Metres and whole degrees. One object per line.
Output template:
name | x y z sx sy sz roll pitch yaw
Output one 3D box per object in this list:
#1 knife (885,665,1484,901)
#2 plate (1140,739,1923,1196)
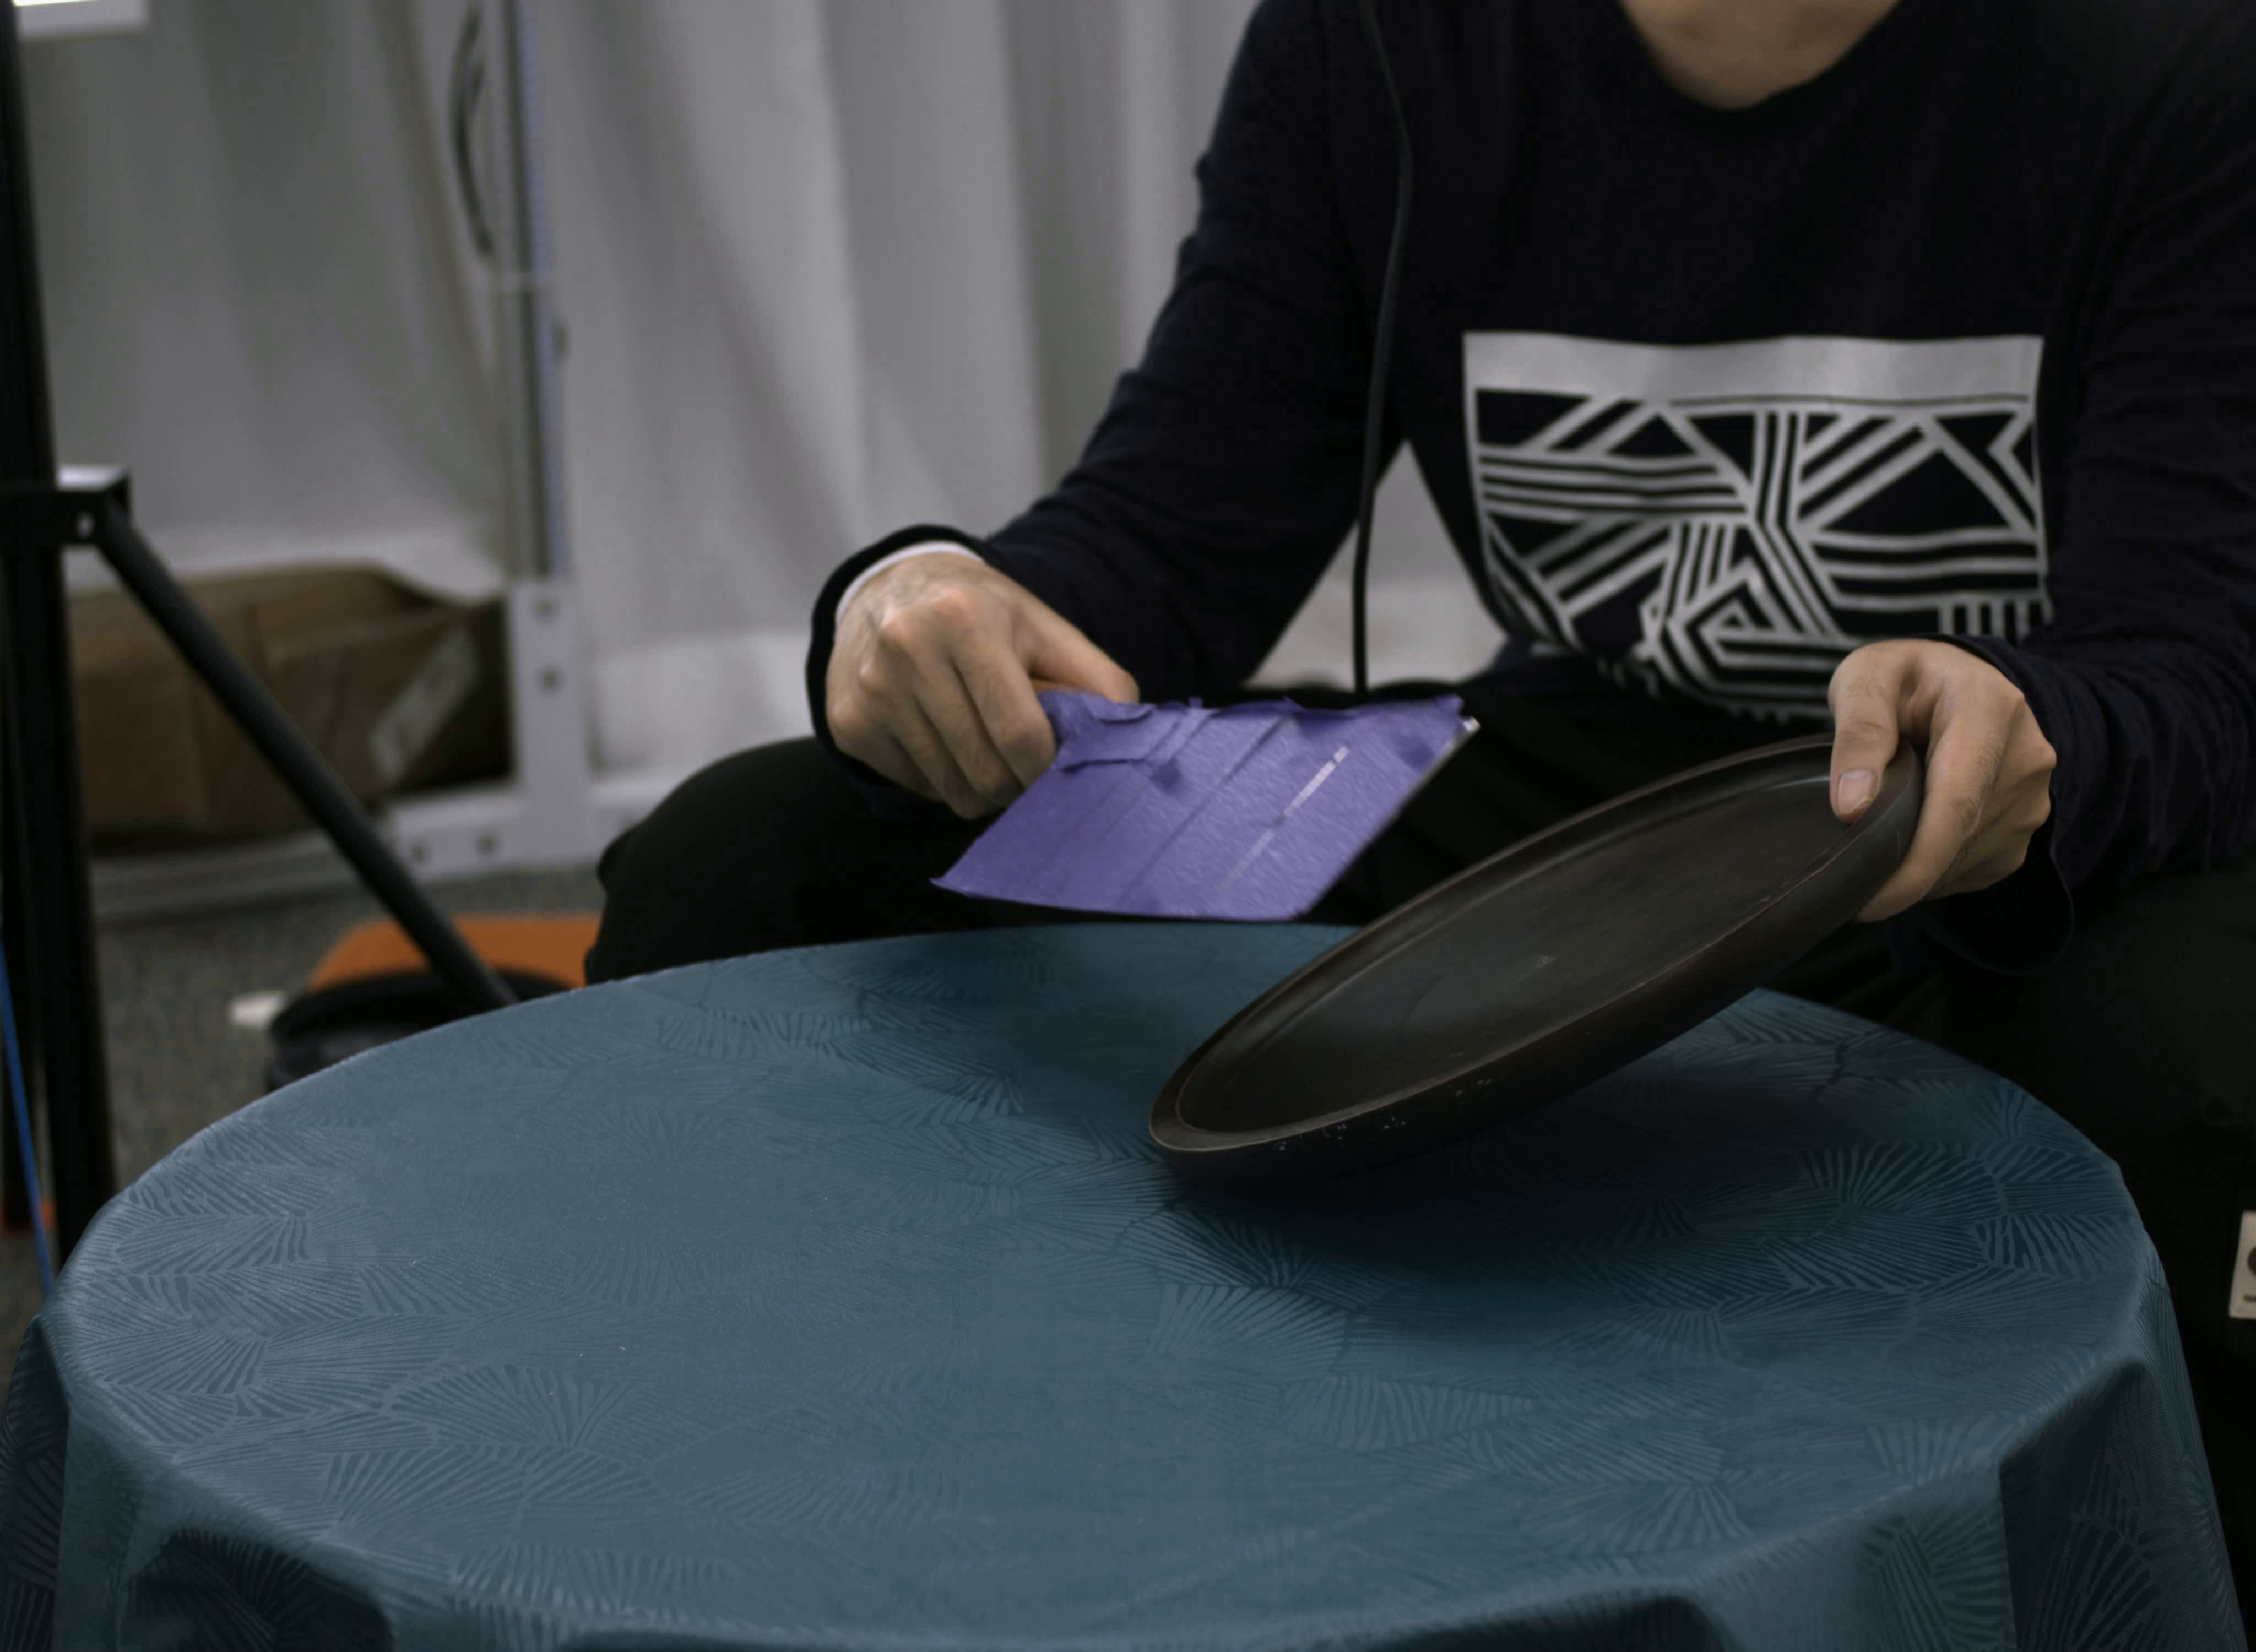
knife | -0.009 -0.013 1.674 0.103 0.032 0.321 -46 21 -23
plate | 0.120 0.042 1.565 0.254 0.029 0.256 -28 11 4
